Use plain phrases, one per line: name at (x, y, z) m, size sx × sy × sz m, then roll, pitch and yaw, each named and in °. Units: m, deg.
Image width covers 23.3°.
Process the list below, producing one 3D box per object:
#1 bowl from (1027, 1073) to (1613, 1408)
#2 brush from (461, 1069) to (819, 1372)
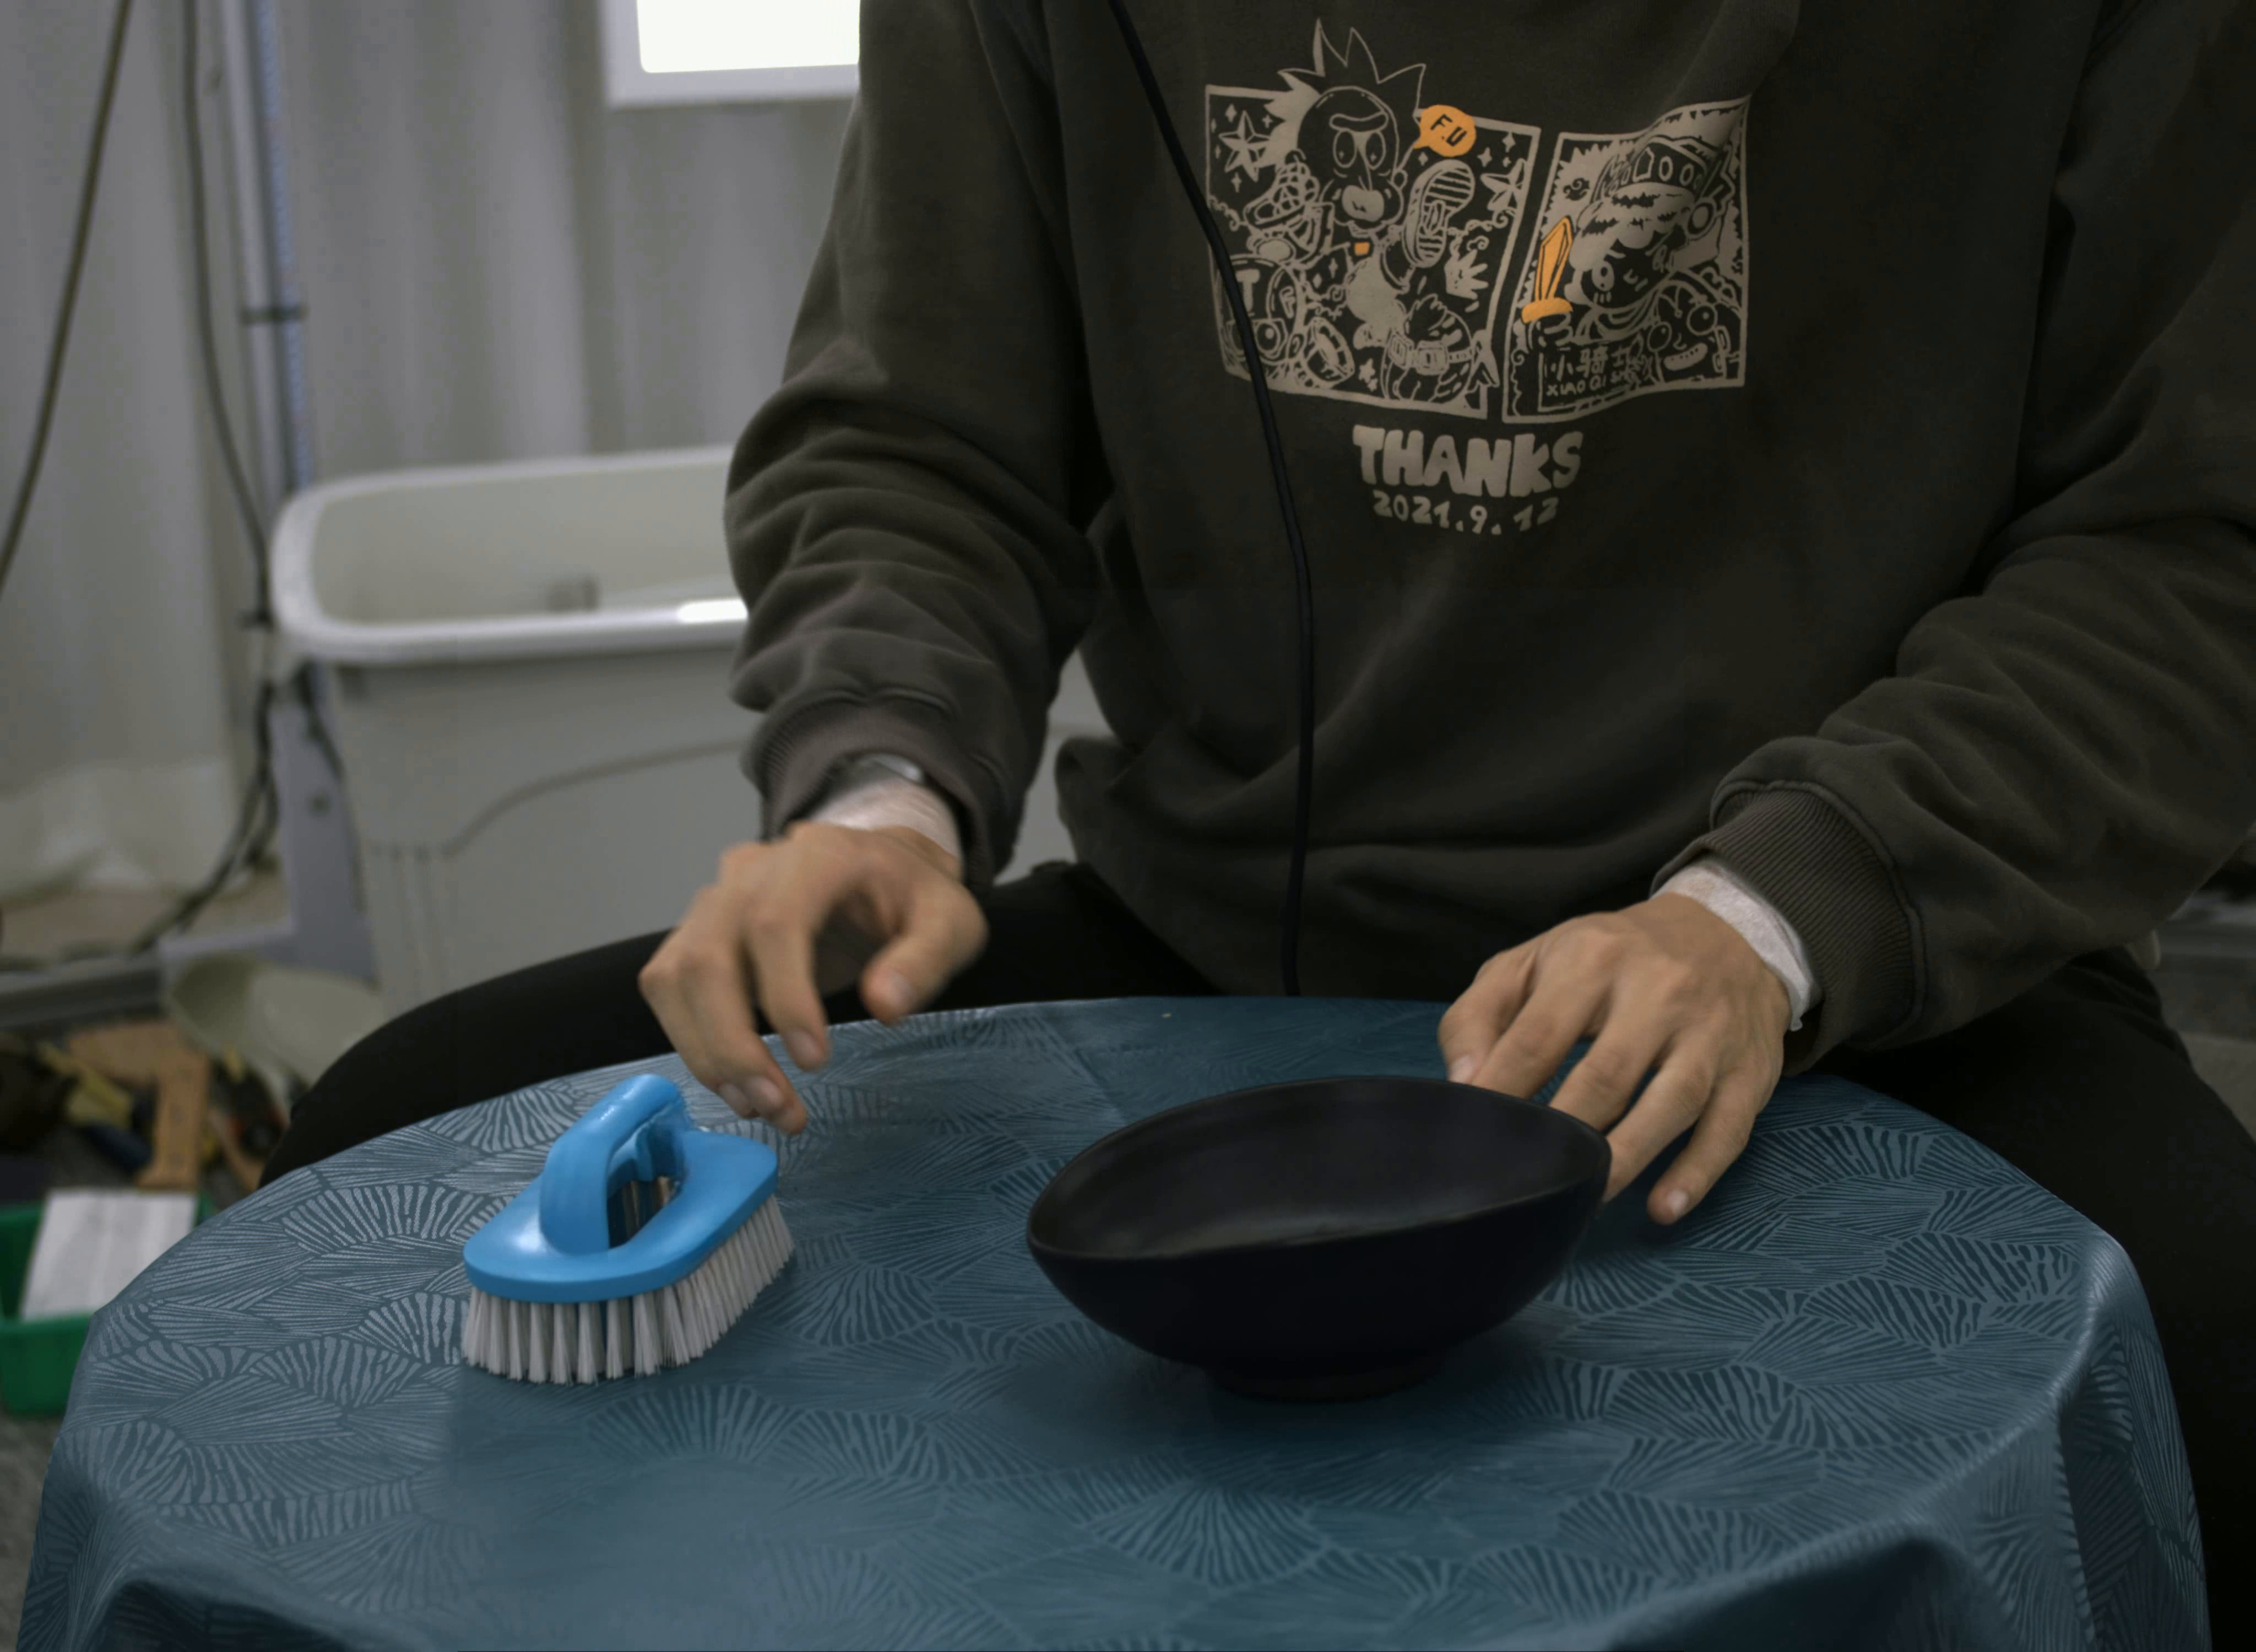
bowl at (0.057, 0.124, 1.556) m, size 0.169 × 0.066 × 0.138 m, roll -9°, pitch 15°, yaw -14°
brush at (-0.148, 0.112, 1.637) m, size 0.084 × 0.063 × 0.142 m, roll -3°, pitch 13°, yaw 18°
